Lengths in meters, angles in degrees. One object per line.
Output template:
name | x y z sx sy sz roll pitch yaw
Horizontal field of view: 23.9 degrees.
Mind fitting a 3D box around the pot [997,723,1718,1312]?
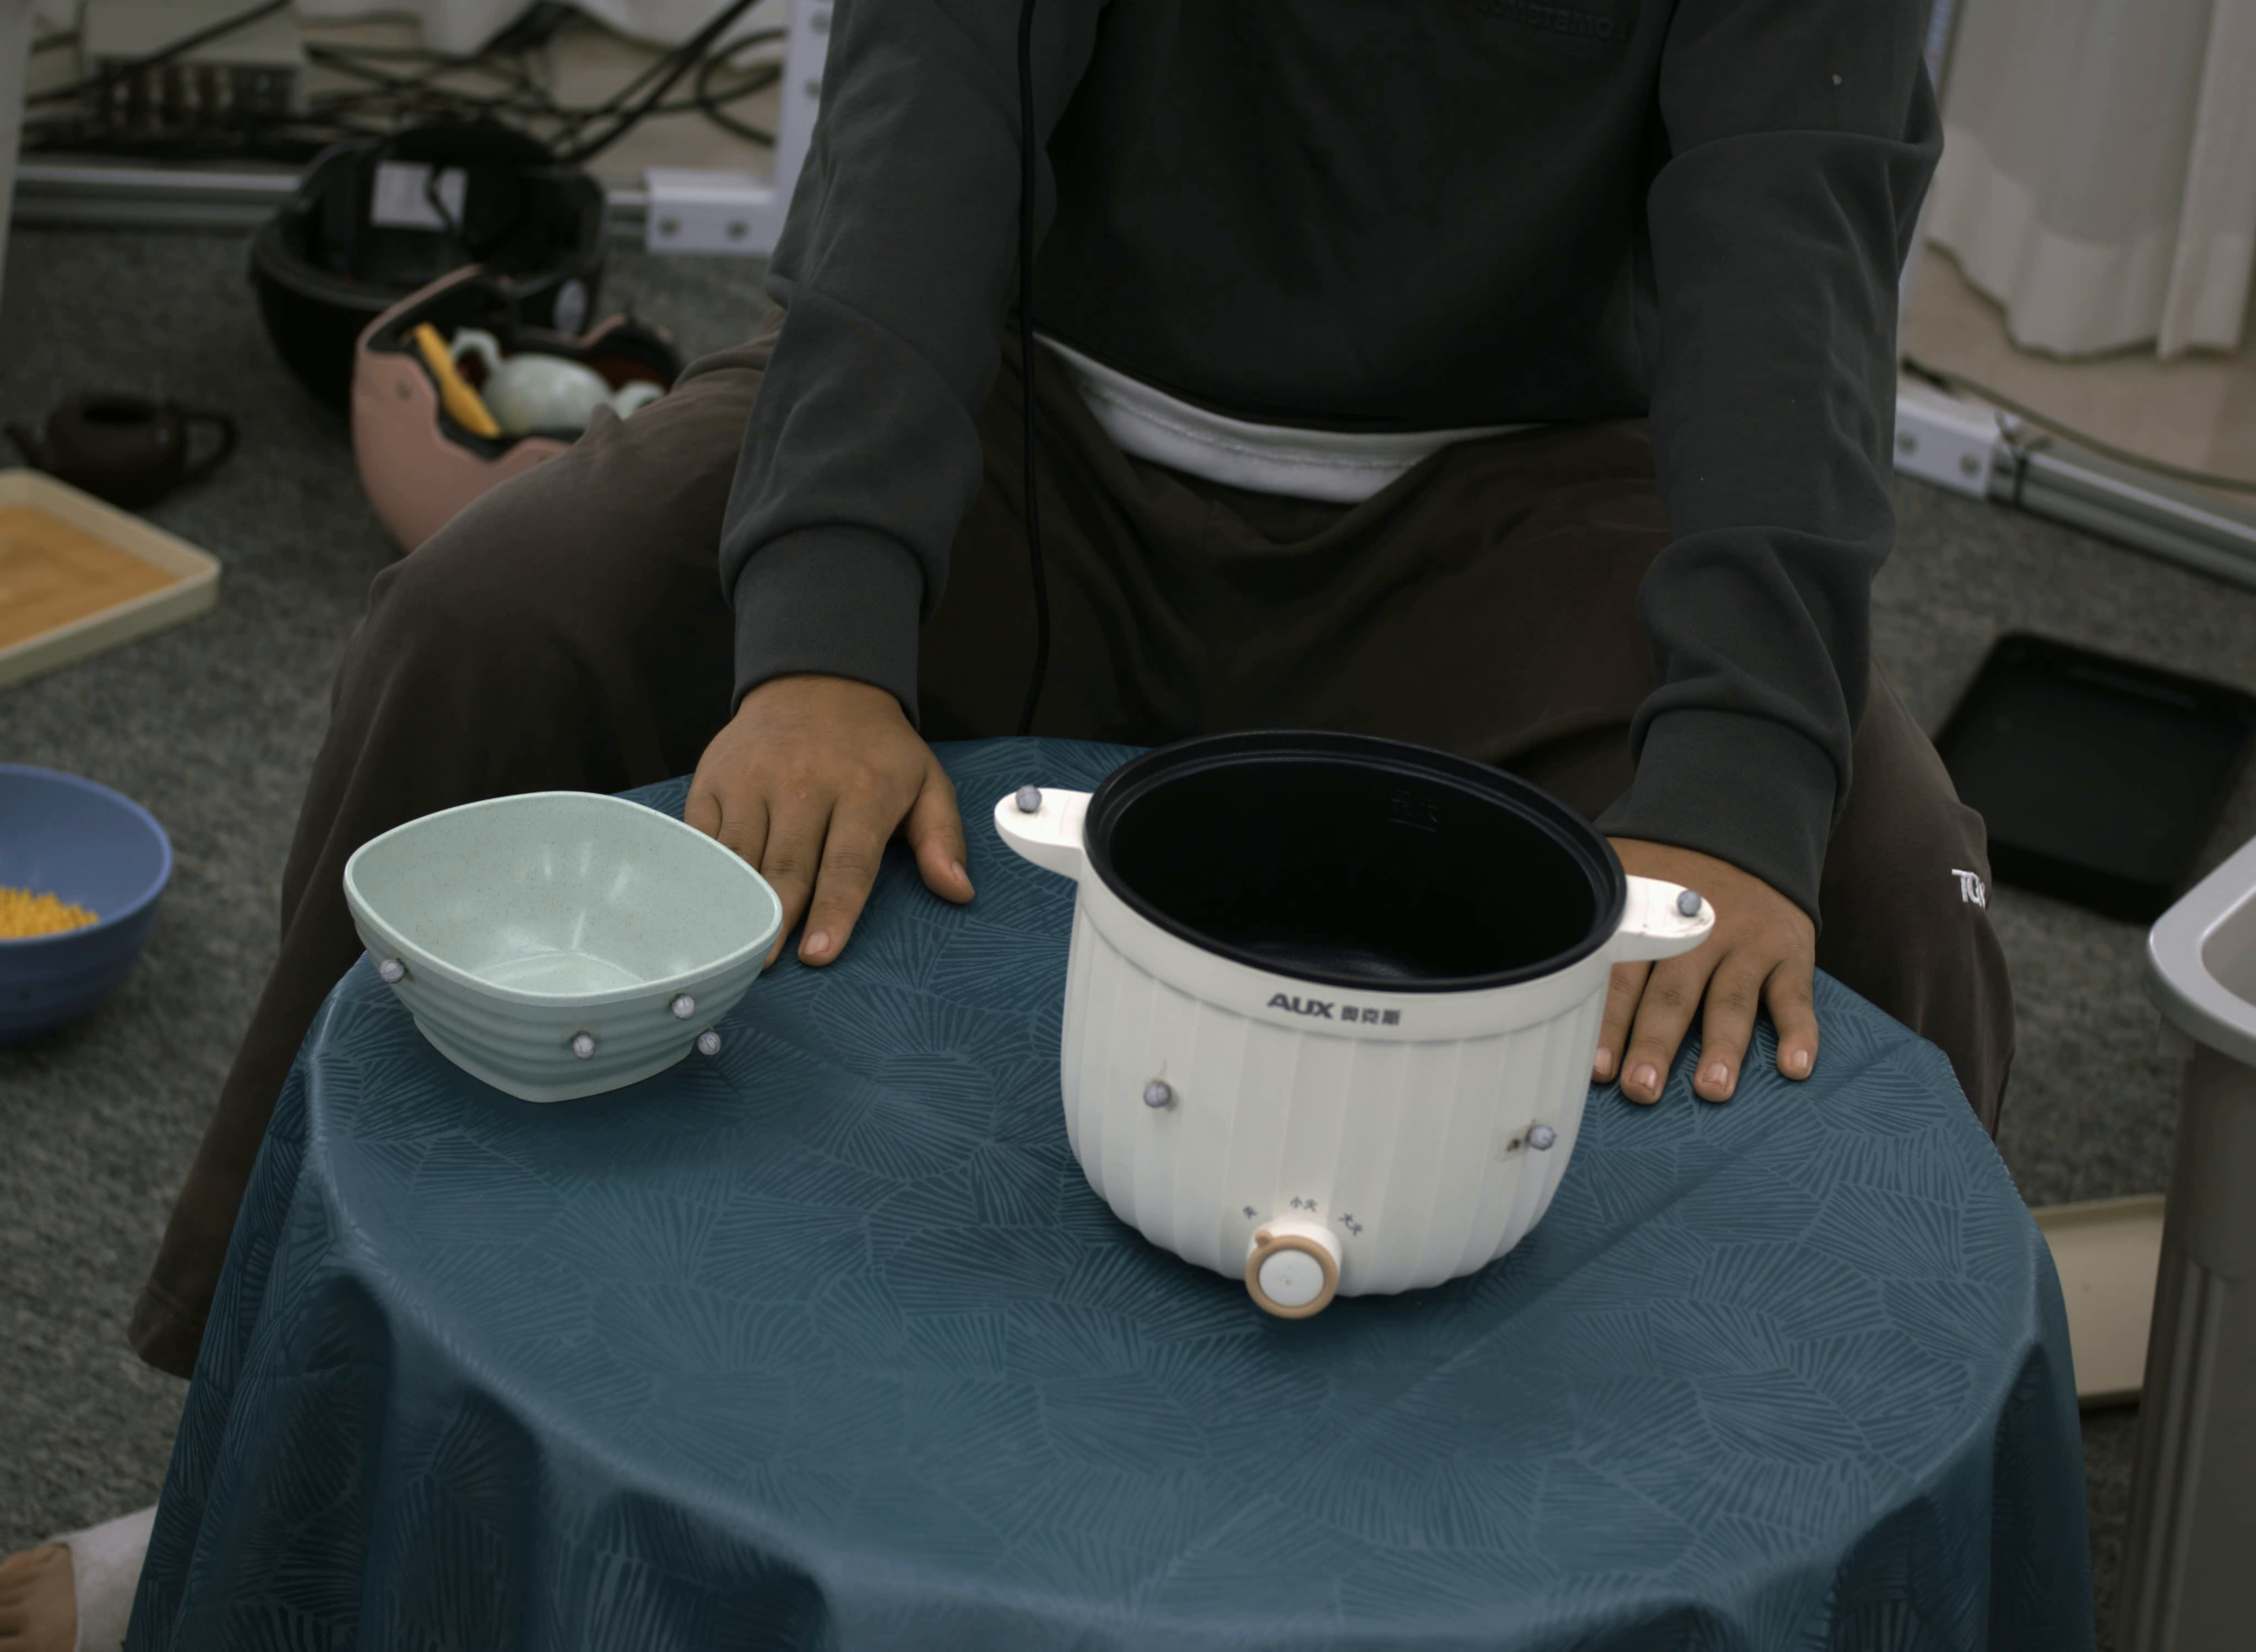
pot | 0.070 0.067 1.779 0.240 0.142 0.191 6 23 2

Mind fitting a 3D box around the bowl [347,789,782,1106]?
bowl | -0.197 0.048 1.848 0.151 0.058 0.152 6 28 -4
